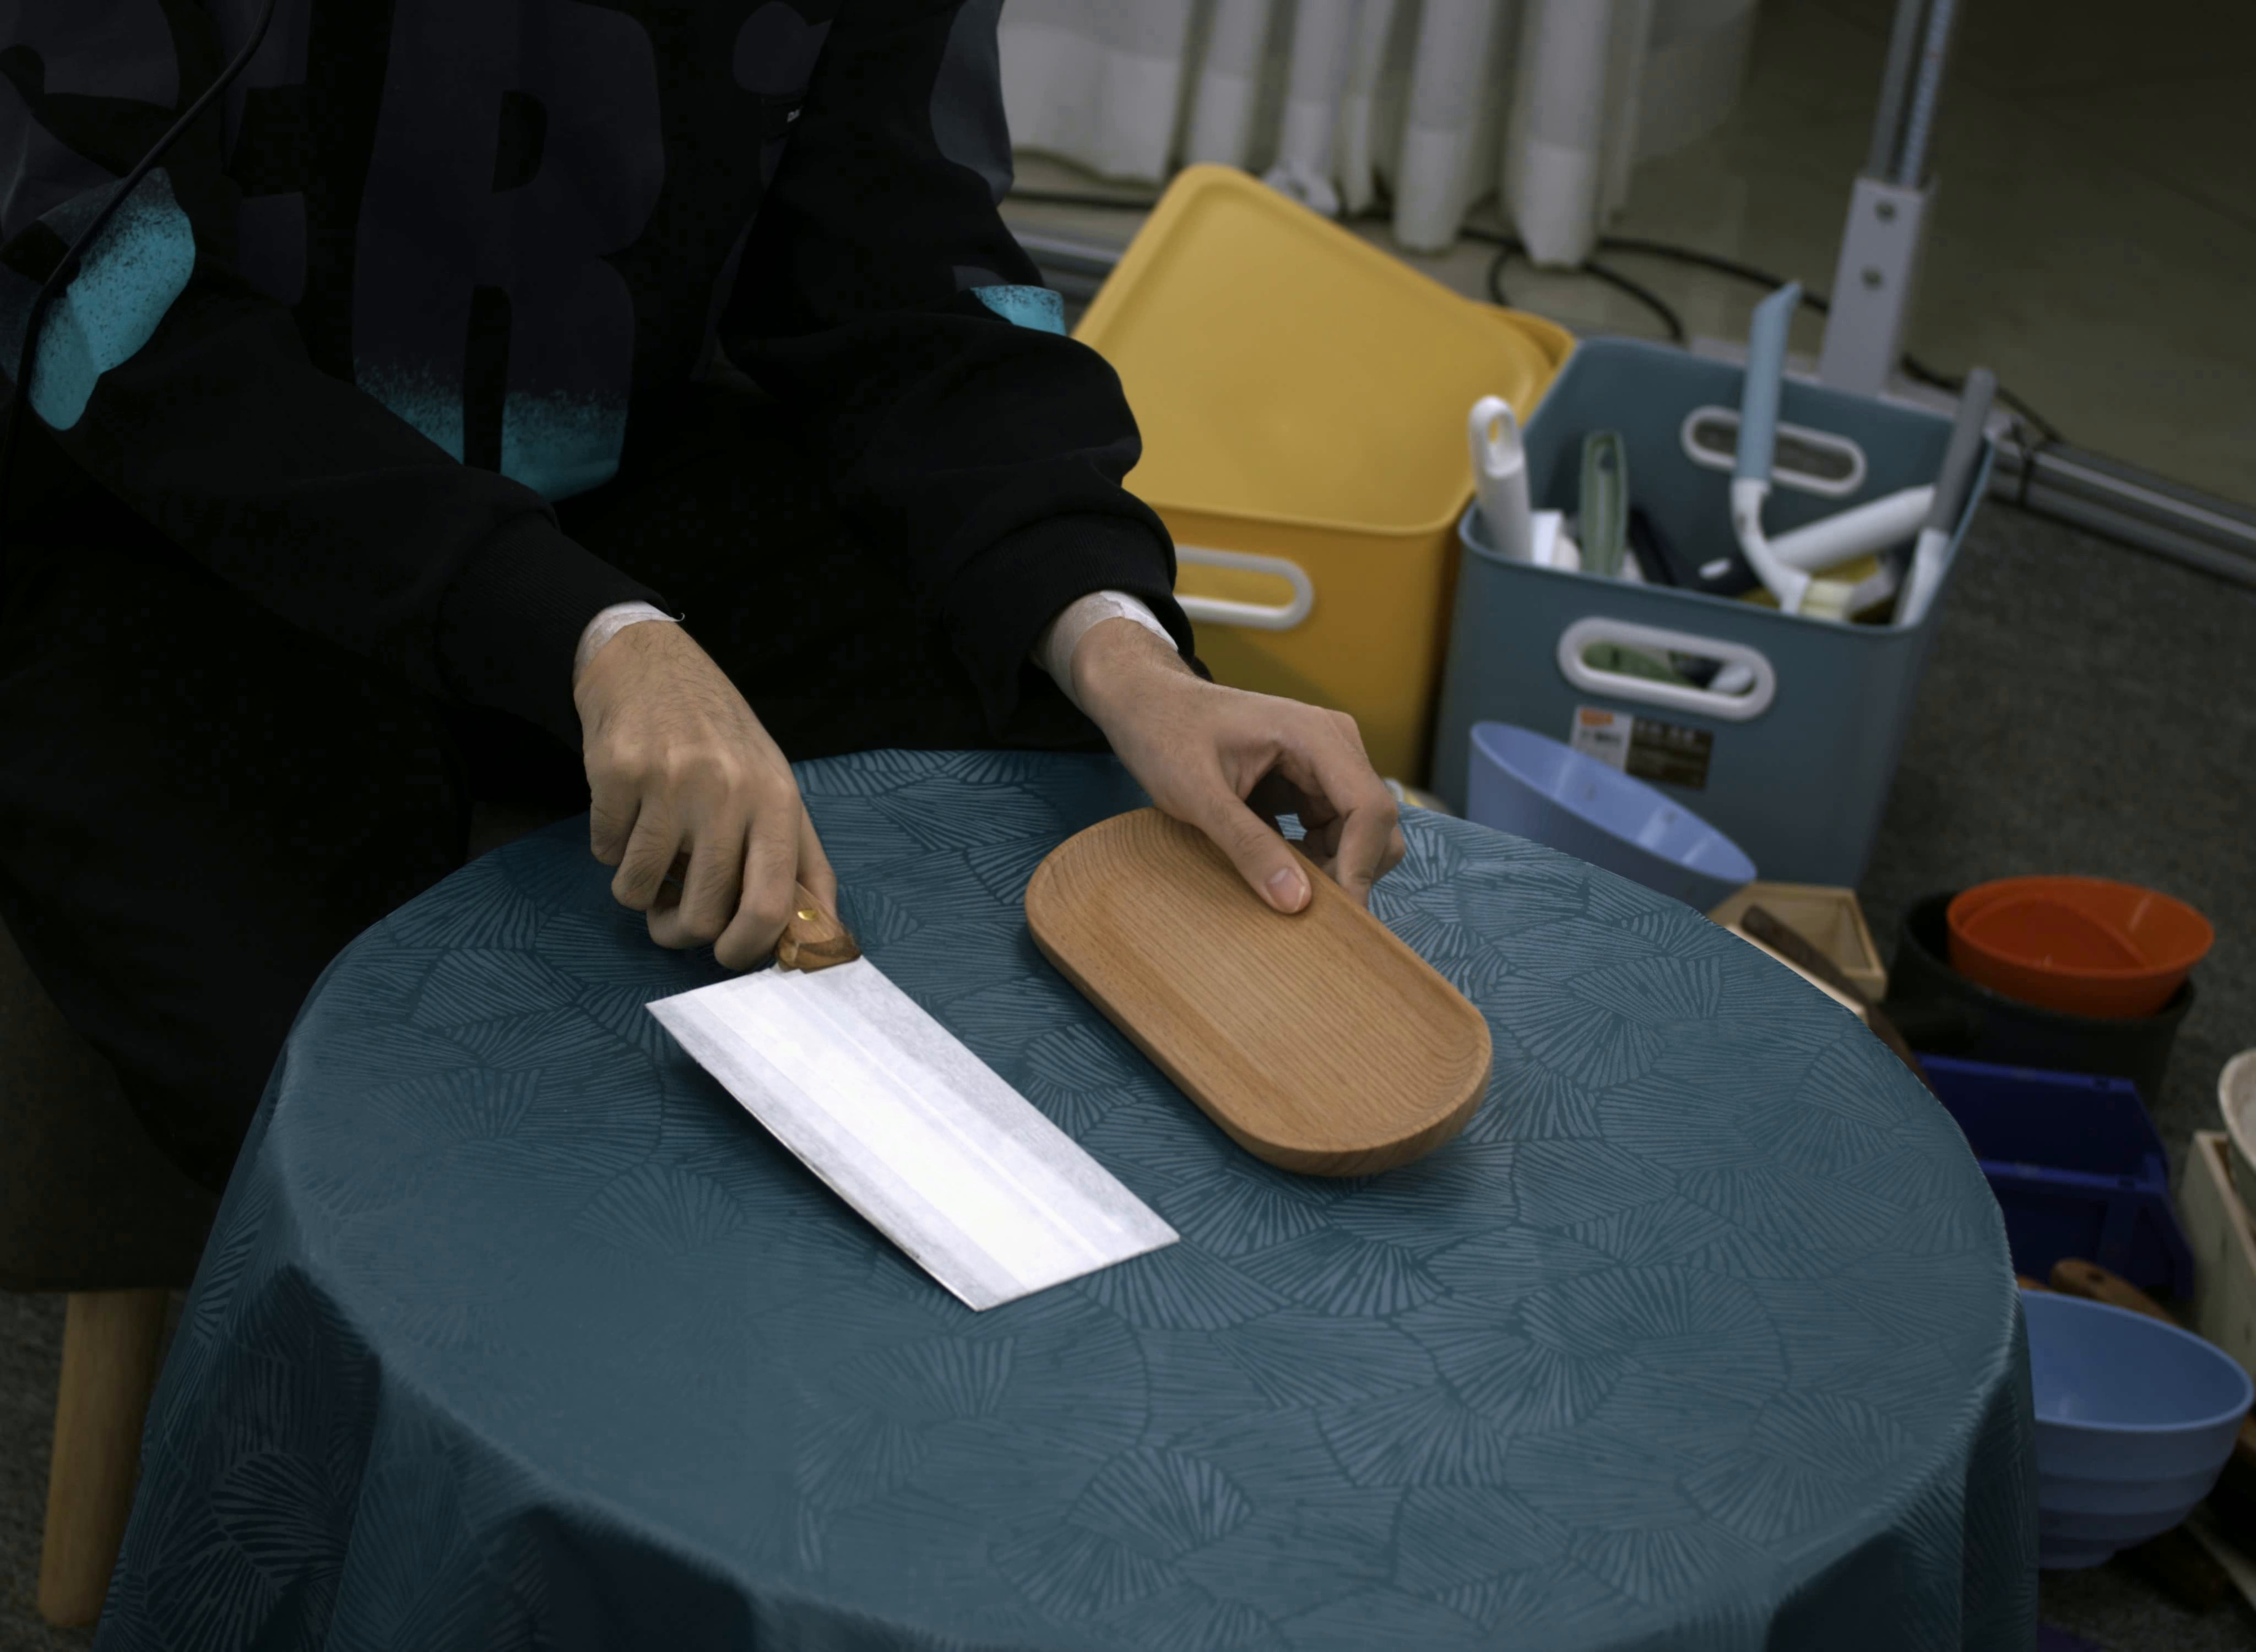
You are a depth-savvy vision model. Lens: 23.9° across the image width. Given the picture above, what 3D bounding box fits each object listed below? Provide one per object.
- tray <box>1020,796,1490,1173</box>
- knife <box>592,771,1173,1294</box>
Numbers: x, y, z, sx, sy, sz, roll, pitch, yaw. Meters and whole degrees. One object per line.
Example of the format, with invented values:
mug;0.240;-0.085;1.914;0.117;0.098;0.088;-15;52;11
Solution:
tray;0.044;0.055;1.901;0.101;0.020;0.233;-25;37;-19
knife;-0.109;0.070;1.843;0.092;0.021;0.308;-16;41;-37
